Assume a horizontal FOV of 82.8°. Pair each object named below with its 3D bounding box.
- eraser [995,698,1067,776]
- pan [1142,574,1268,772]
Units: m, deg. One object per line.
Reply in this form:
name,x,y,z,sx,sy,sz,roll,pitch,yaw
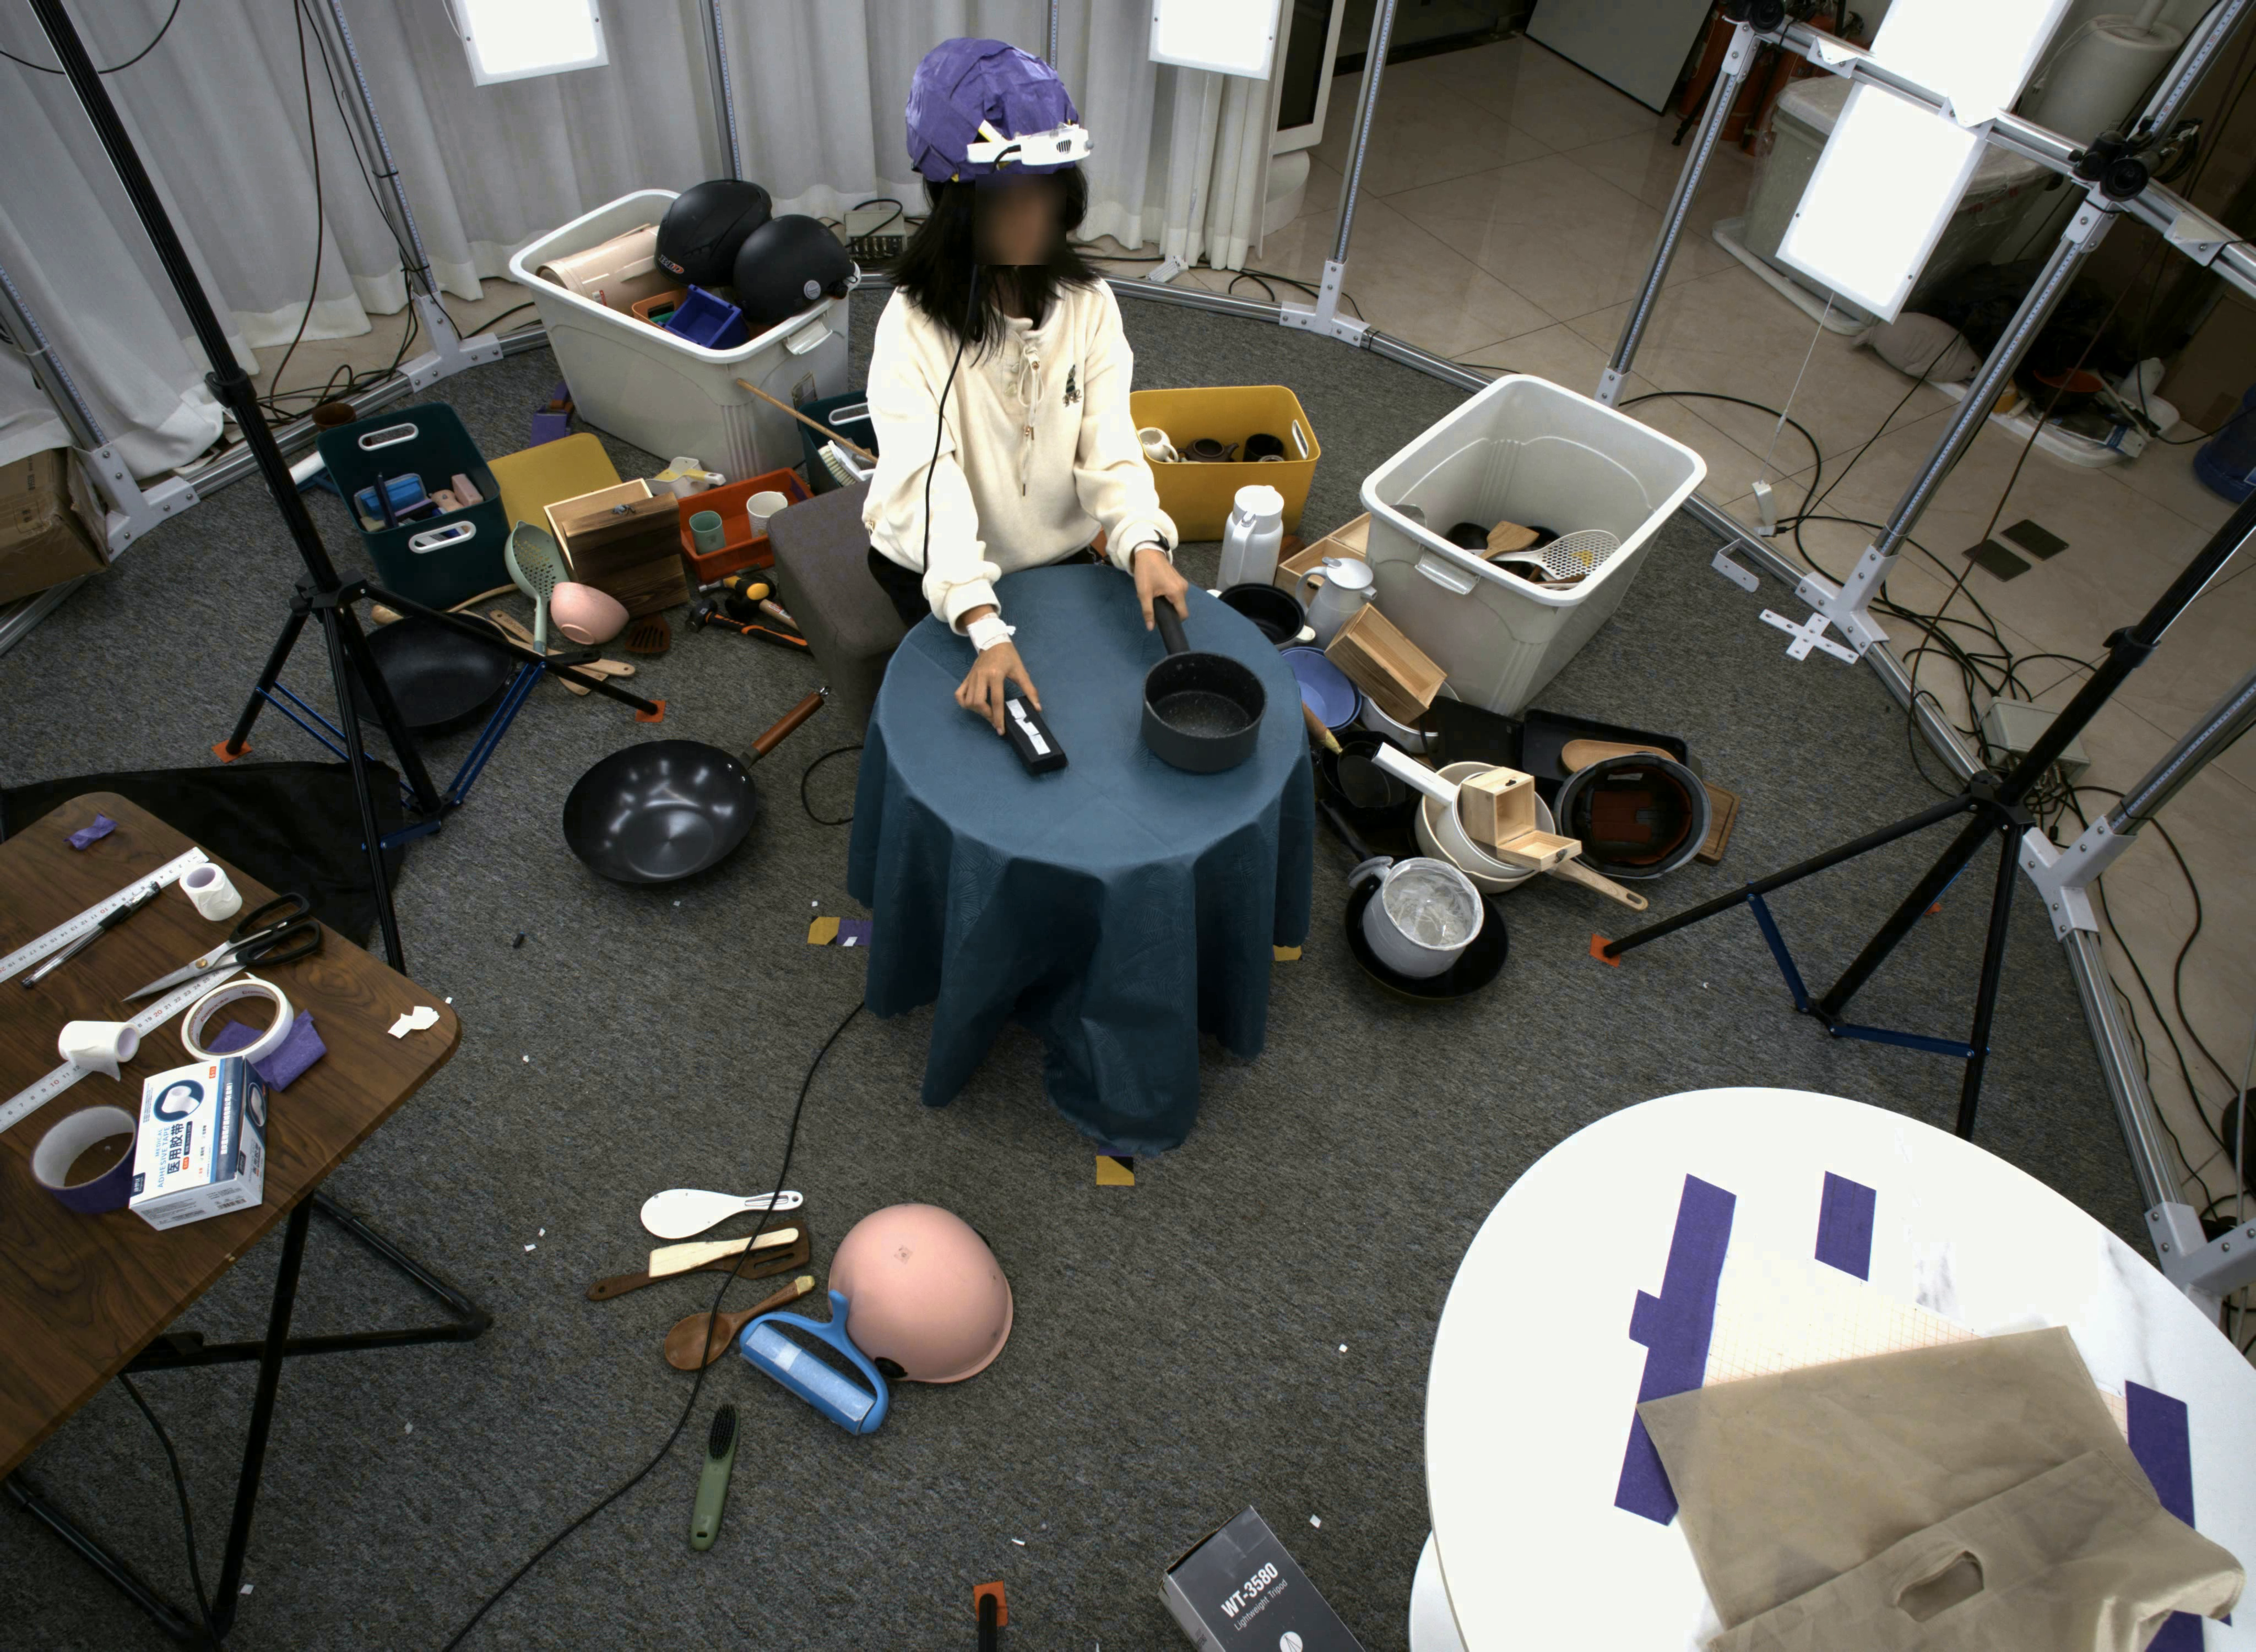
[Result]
eraser,-0.133,-0.122,1.749,0.053,0.030,0.128,-16,51,-22
pan,0.083,-0.218,1.810,0.172,0.084,0.337,-7,50,-12
